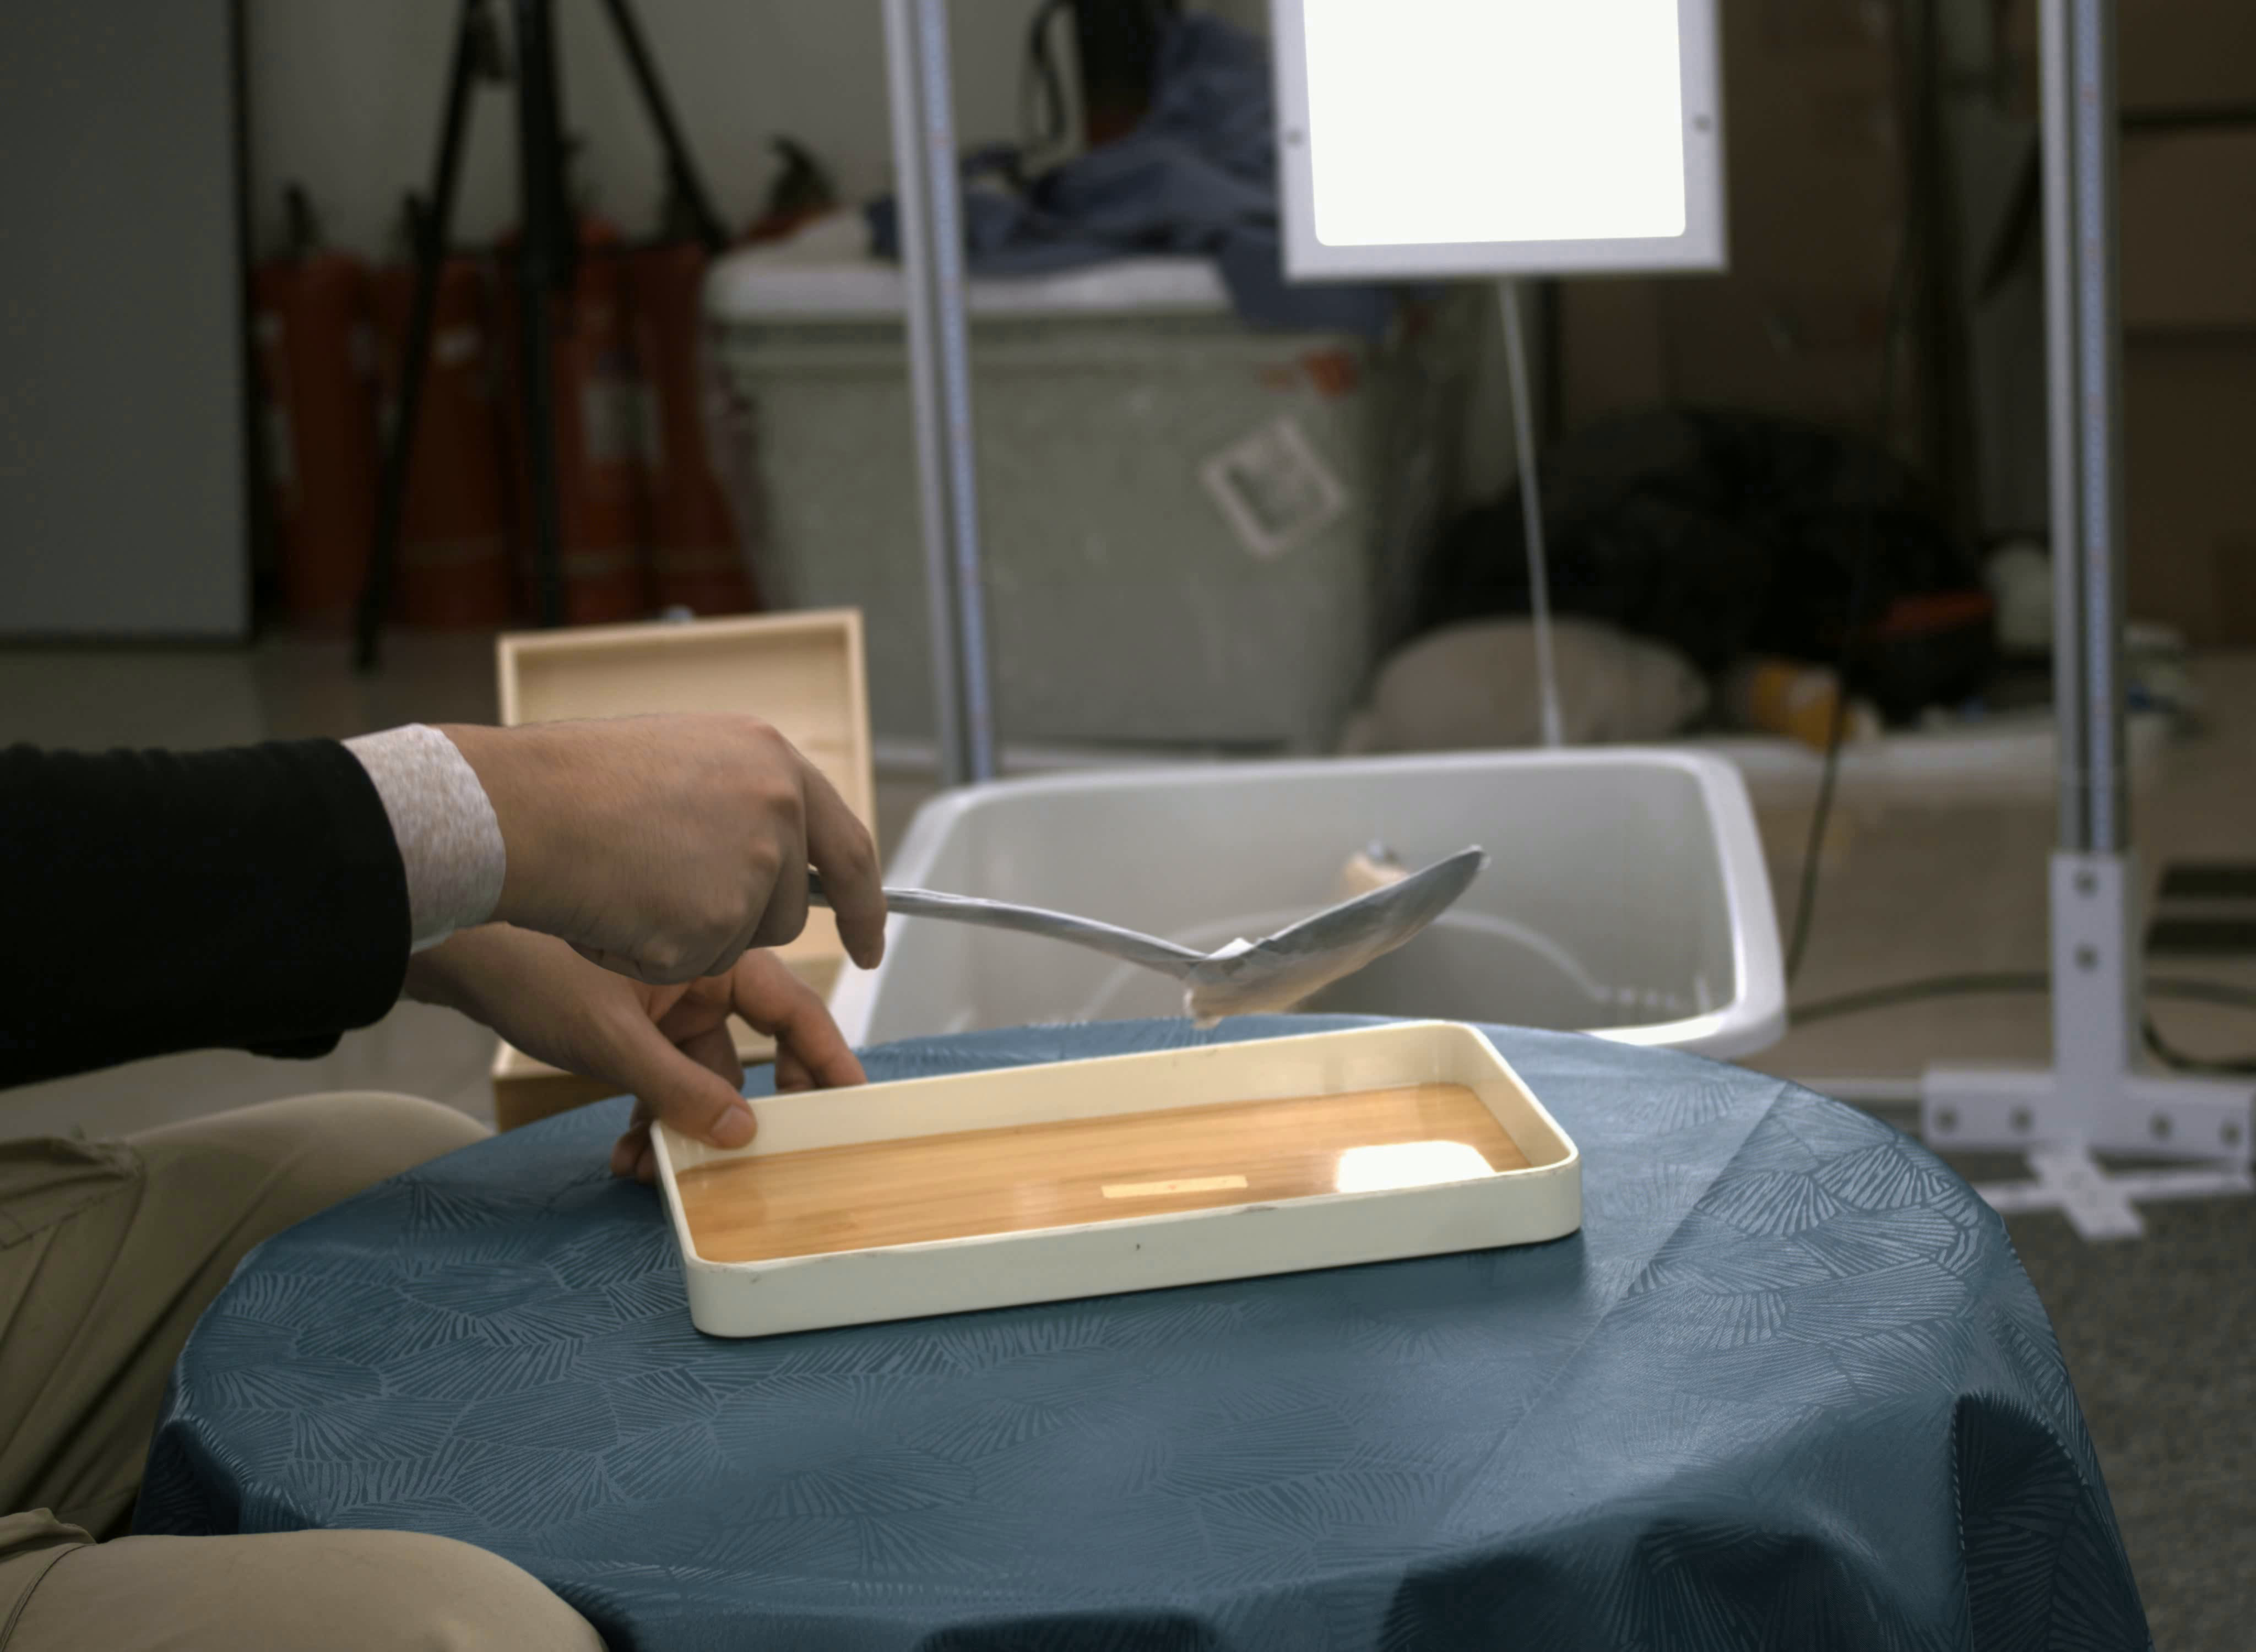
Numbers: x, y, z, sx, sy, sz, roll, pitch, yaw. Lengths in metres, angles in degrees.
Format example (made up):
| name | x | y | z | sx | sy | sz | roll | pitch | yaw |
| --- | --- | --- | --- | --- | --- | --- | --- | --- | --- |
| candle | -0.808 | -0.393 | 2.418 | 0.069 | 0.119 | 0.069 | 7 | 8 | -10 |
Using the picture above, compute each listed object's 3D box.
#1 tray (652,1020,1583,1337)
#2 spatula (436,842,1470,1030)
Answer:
| name | x | y | z | sx | sy | sz | roll | pitch | yaw |
| --- | --- | --- | --- | --- | --- | --- | --- | --- | --- |
| tray | -0.008 | 0.118 | 1.879 | 0.298 | 0.027 | 0.192 | -6 | 14 | -5 |
| spatula | -0.052 | 0.026 | 1.753 | 0.357 | 0.045 | 0.100 | 8 | -33 | -28 |
